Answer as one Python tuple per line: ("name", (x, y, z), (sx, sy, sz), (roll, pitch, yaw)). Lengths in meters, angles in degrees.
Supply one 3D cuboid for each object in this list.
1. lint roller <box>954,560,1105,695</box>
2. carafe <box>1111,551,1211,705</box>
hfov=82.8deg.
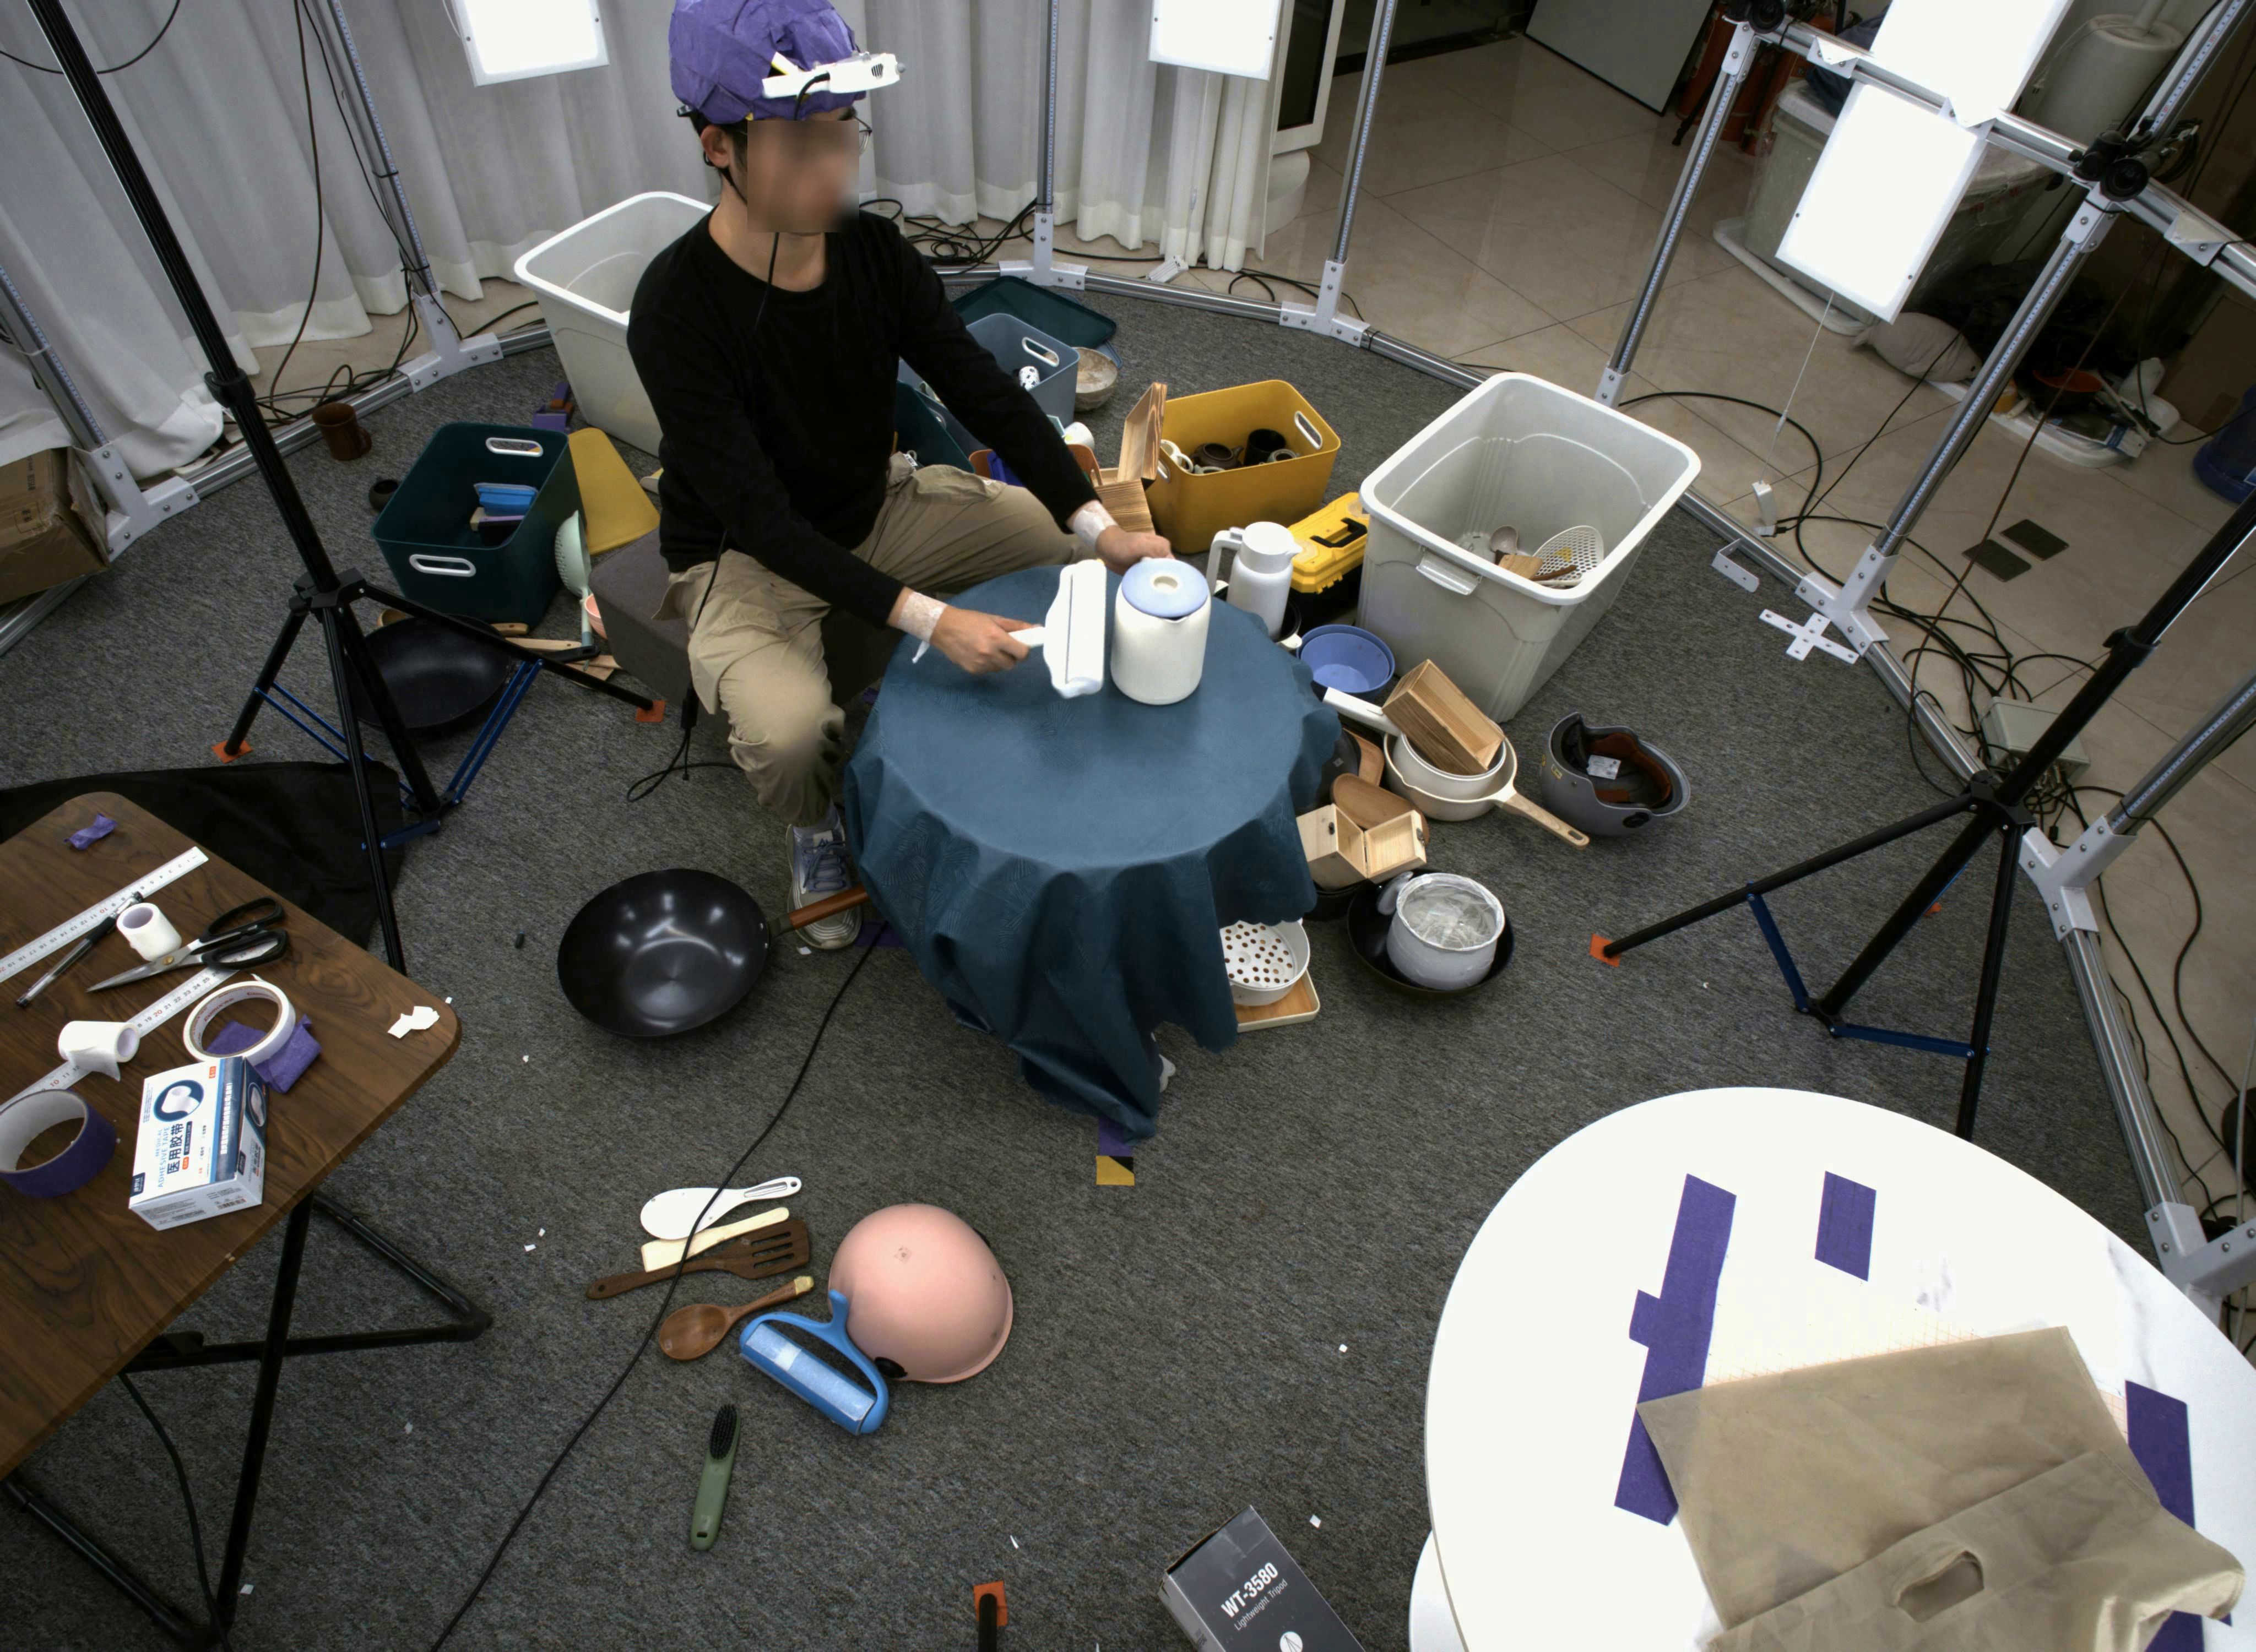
("lint roller", (-0.140, -0.263, 1.781), (0.225, 0.047, 0.207), (-9, 60, 15))
("carafe", (0.040, -0.291, 1.814), (0.132, 0.178, 0.196), (-7, 48, -11))
